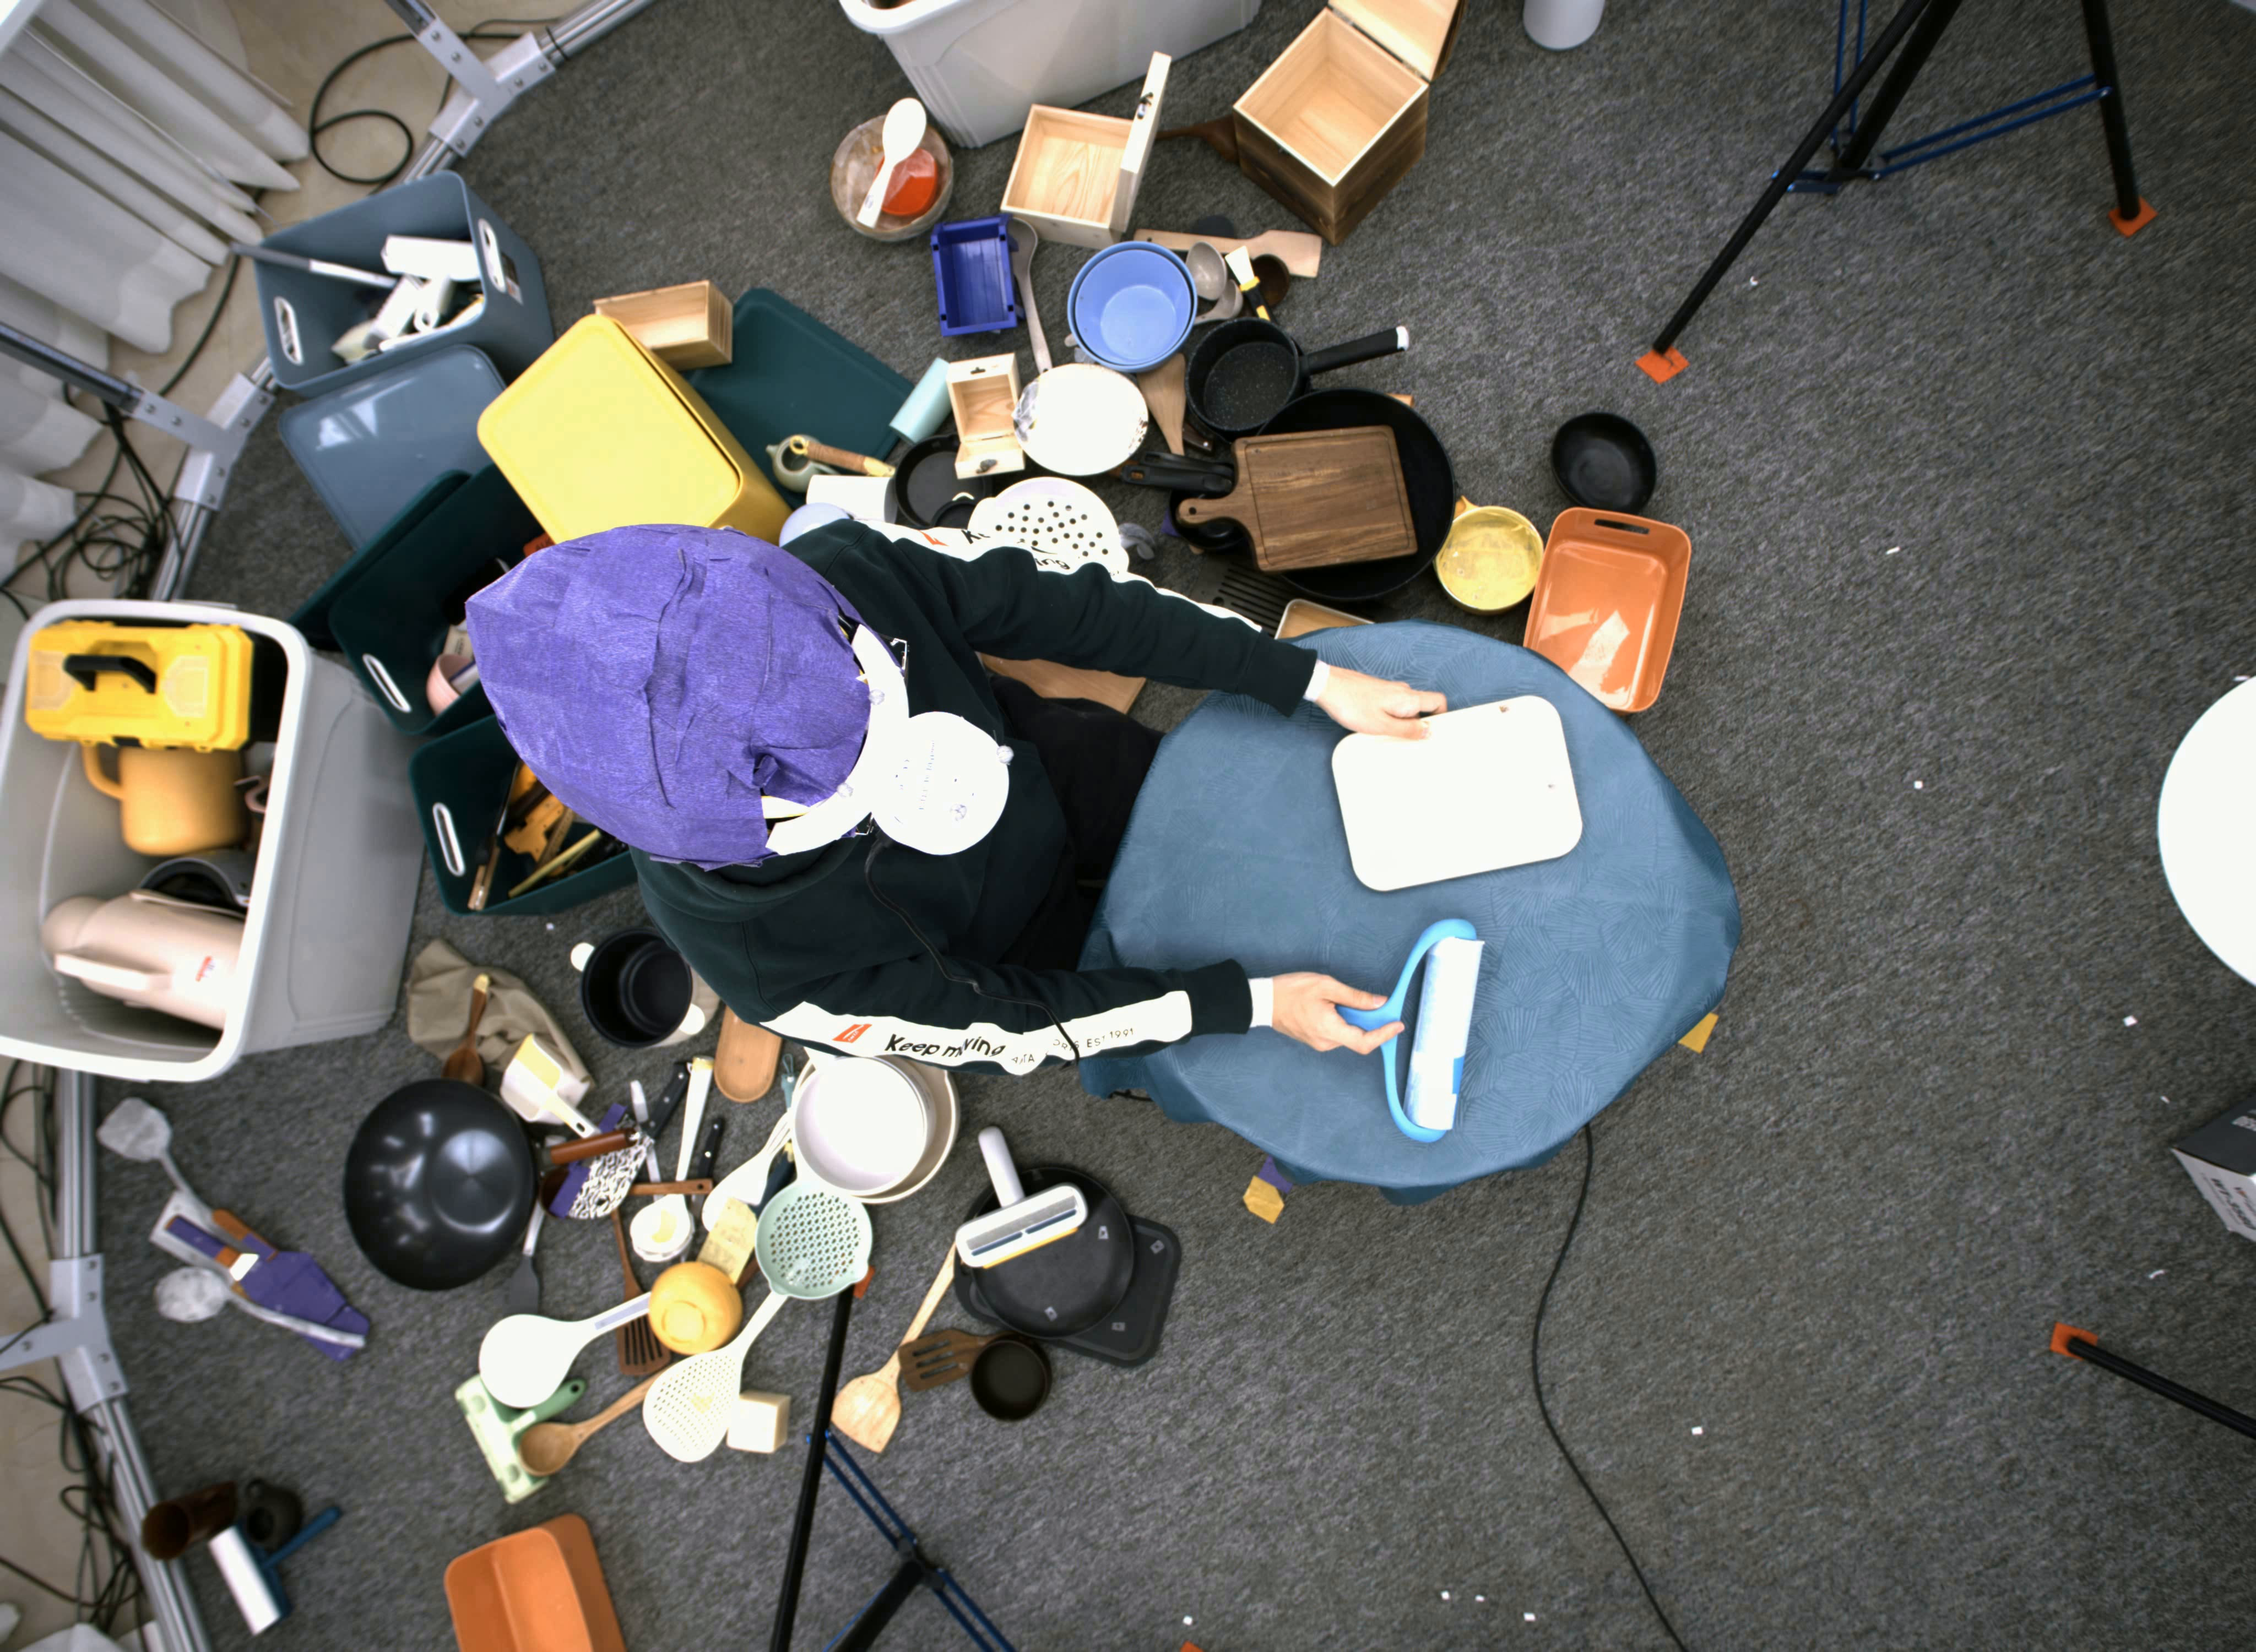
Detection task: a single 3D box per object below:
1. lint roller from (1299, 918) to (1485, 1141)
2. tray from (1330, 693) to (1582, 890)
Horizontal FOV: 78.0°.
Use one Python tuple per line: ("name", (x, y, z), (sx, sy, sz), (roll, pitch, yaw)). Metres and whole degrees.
("lint roller", (0.263, 0.200, 1.412), (0.181, 0.067, 0.230), (6, 95, 10))
("tray", (0.339, -0.037, 1.430), (0.241, 0.017, 0.171), (-12, 93, 9))
